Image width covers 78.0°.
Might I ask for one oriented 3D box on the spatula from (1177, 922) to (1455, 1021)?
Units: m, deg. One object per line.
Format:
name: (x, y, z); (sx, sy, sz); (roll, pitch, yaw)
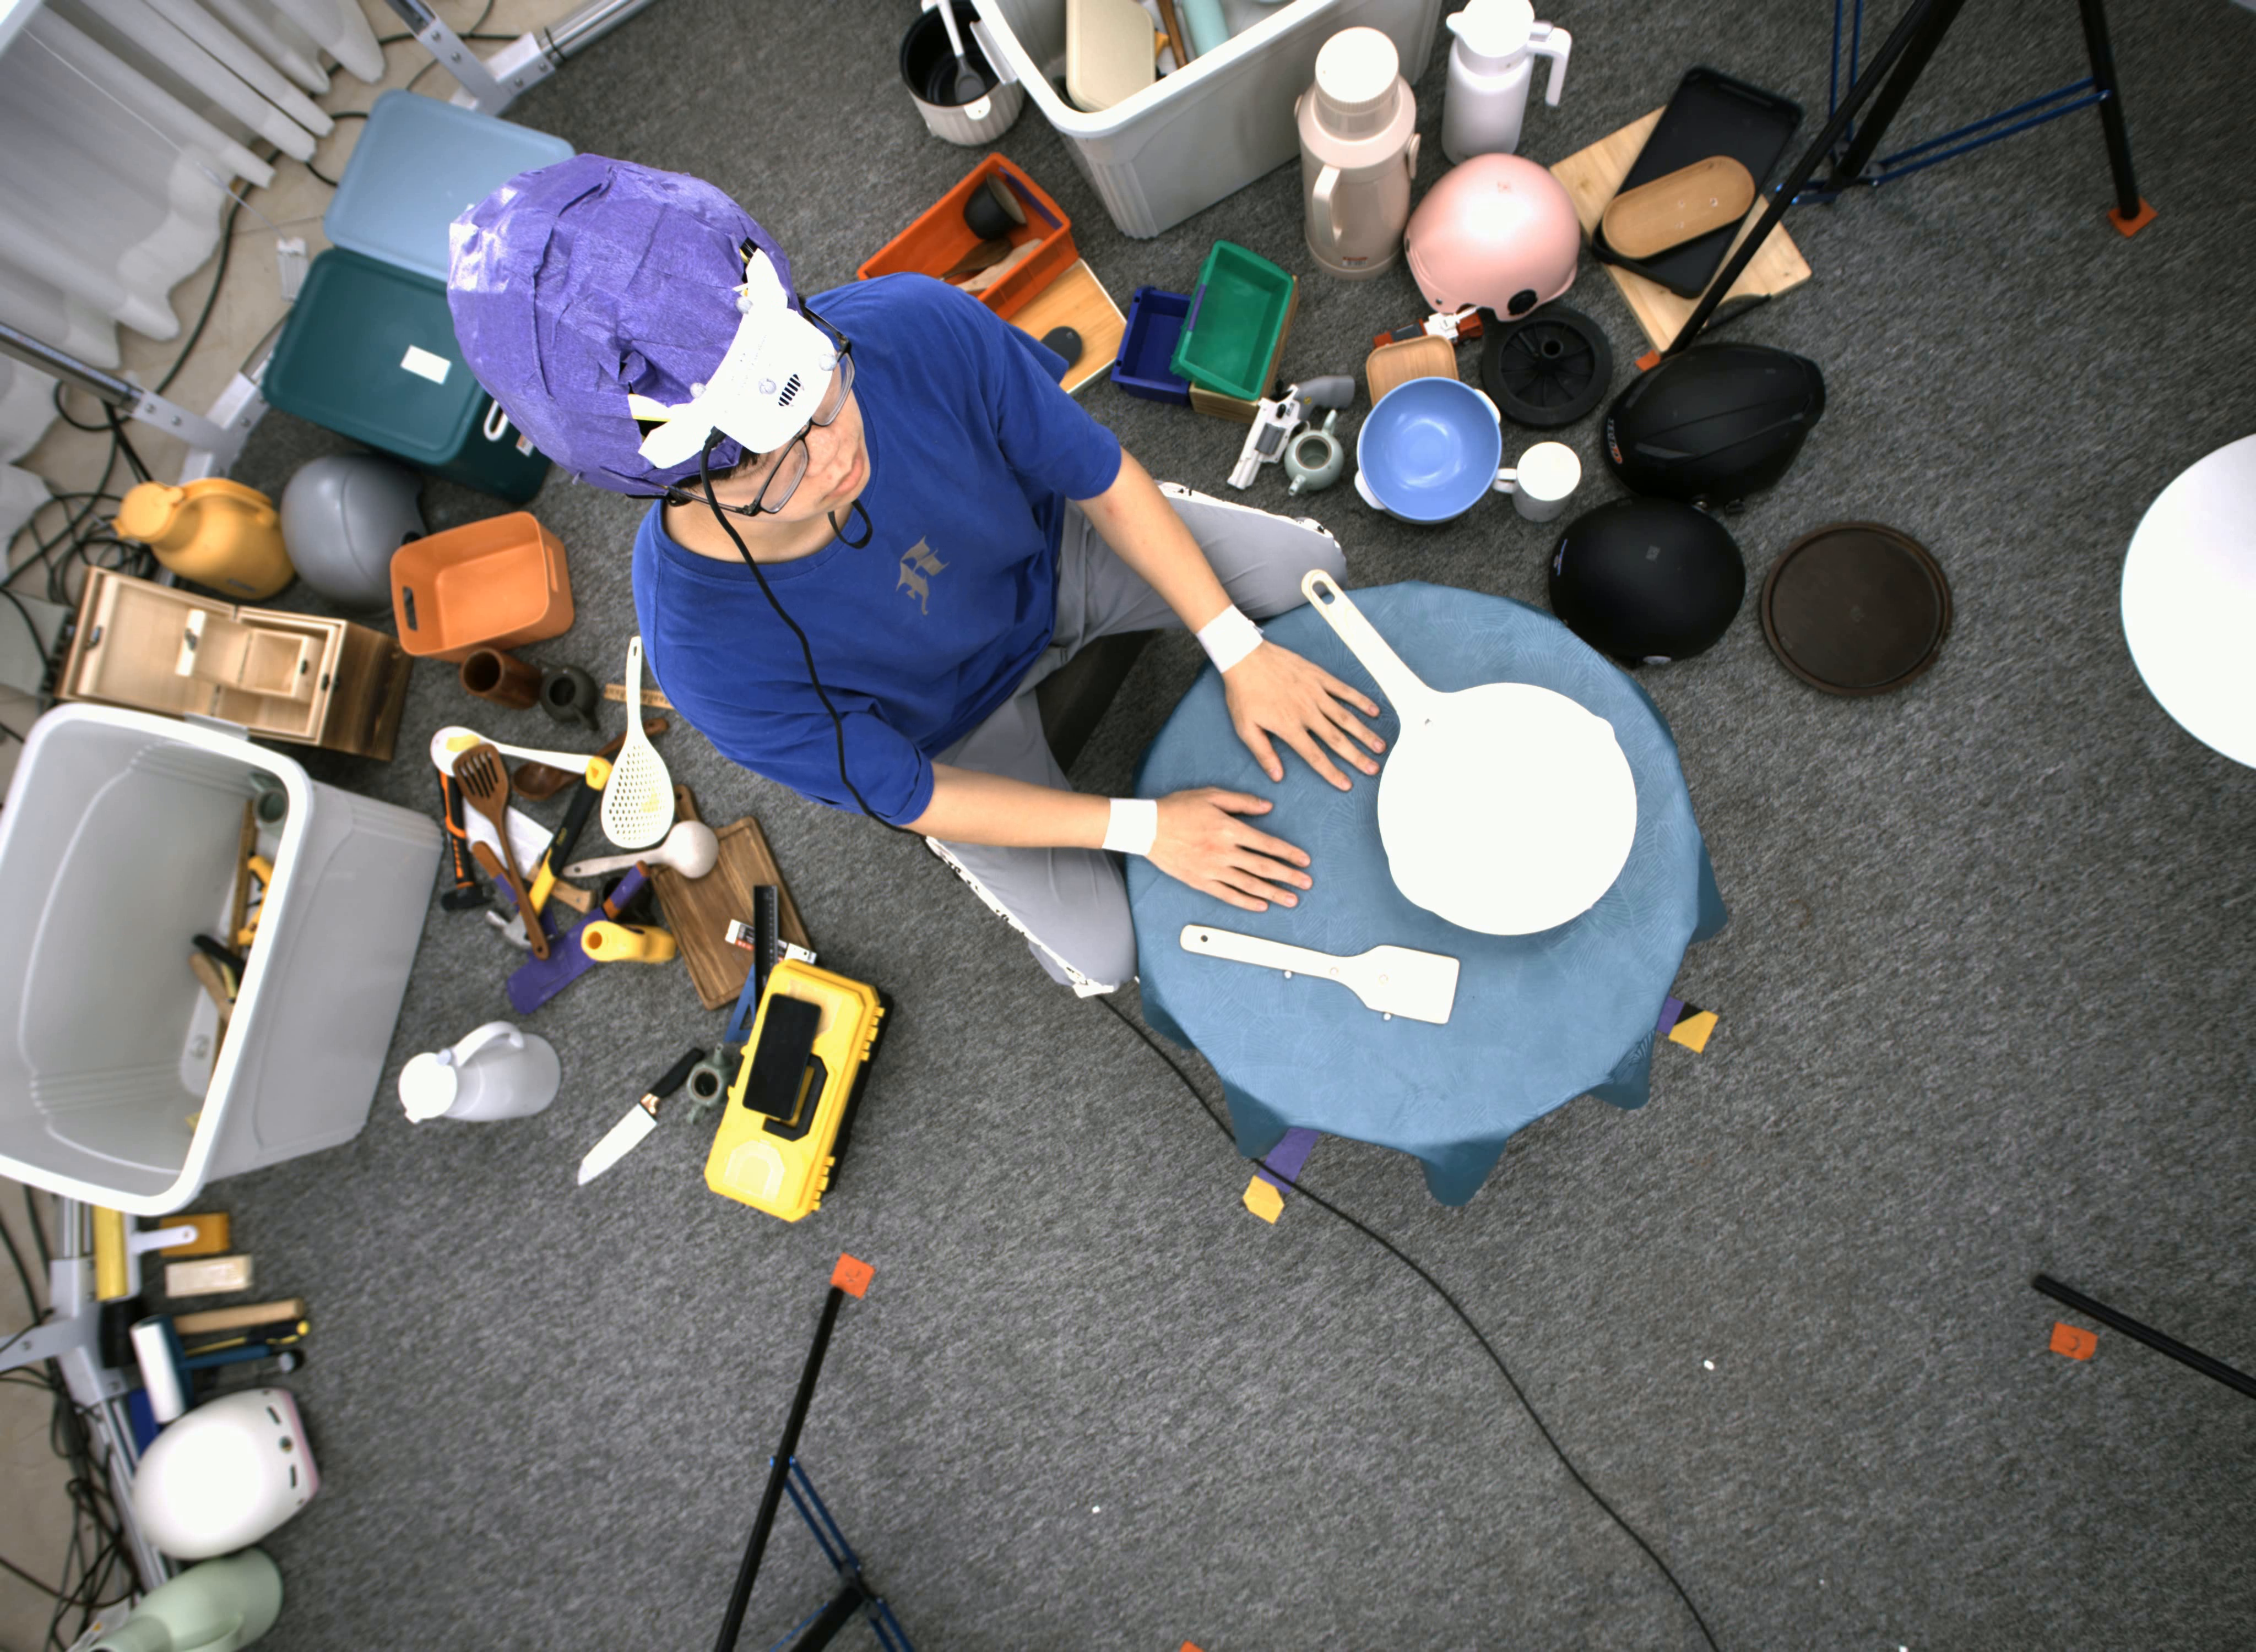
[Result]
spatula: (0.194, 0.143, 1.464); (0.293, 0.010, 0.072); (11, 90, 11)

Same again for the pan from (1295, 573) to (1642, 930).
pan: (0.326, -0.090, 1.405); (0.265, 0.102, 0.432); (-41, 80, 7)
